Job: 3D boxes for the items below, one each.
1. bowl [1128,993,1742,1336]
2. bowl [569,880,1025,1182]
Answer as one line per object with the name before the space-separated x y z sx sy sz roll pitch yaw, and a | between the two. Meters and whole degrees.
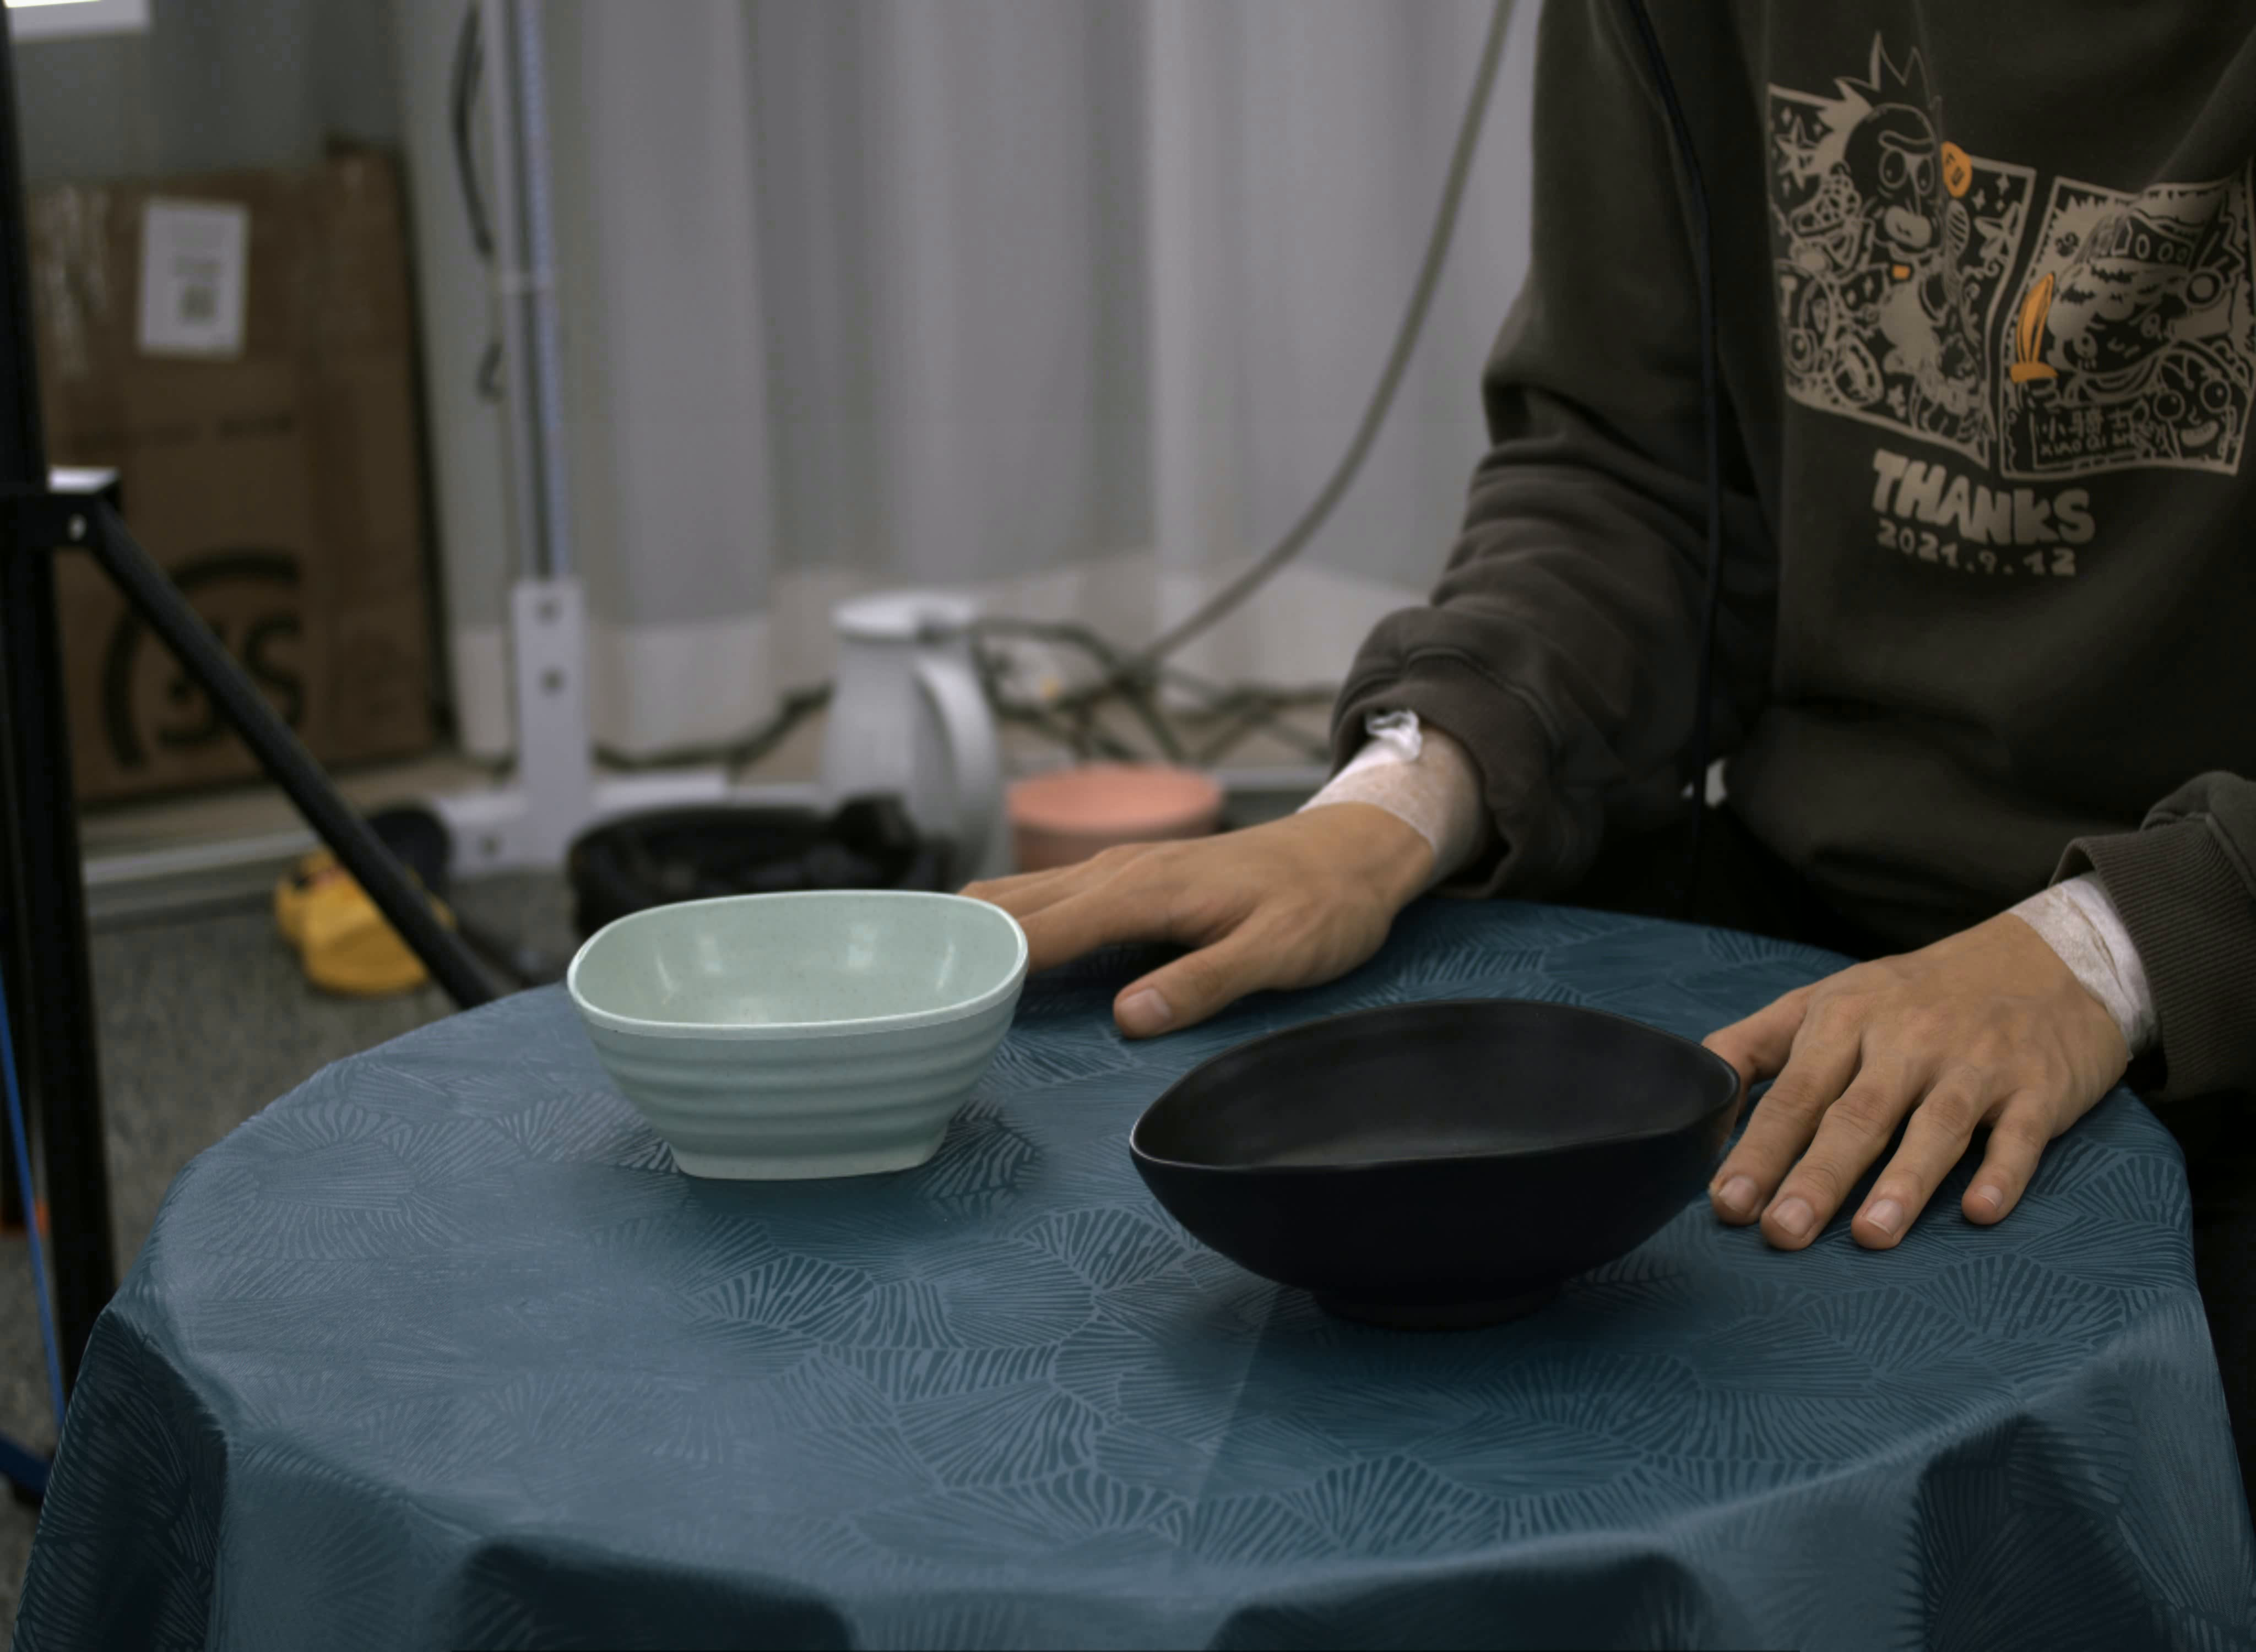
bowl | 0.086 0.099 1.462 0.169 0.066 0.138 -5 16 -4
bowl | -0.099 0.066 1.623 0.151 0.058 0.152 -3 18 0
